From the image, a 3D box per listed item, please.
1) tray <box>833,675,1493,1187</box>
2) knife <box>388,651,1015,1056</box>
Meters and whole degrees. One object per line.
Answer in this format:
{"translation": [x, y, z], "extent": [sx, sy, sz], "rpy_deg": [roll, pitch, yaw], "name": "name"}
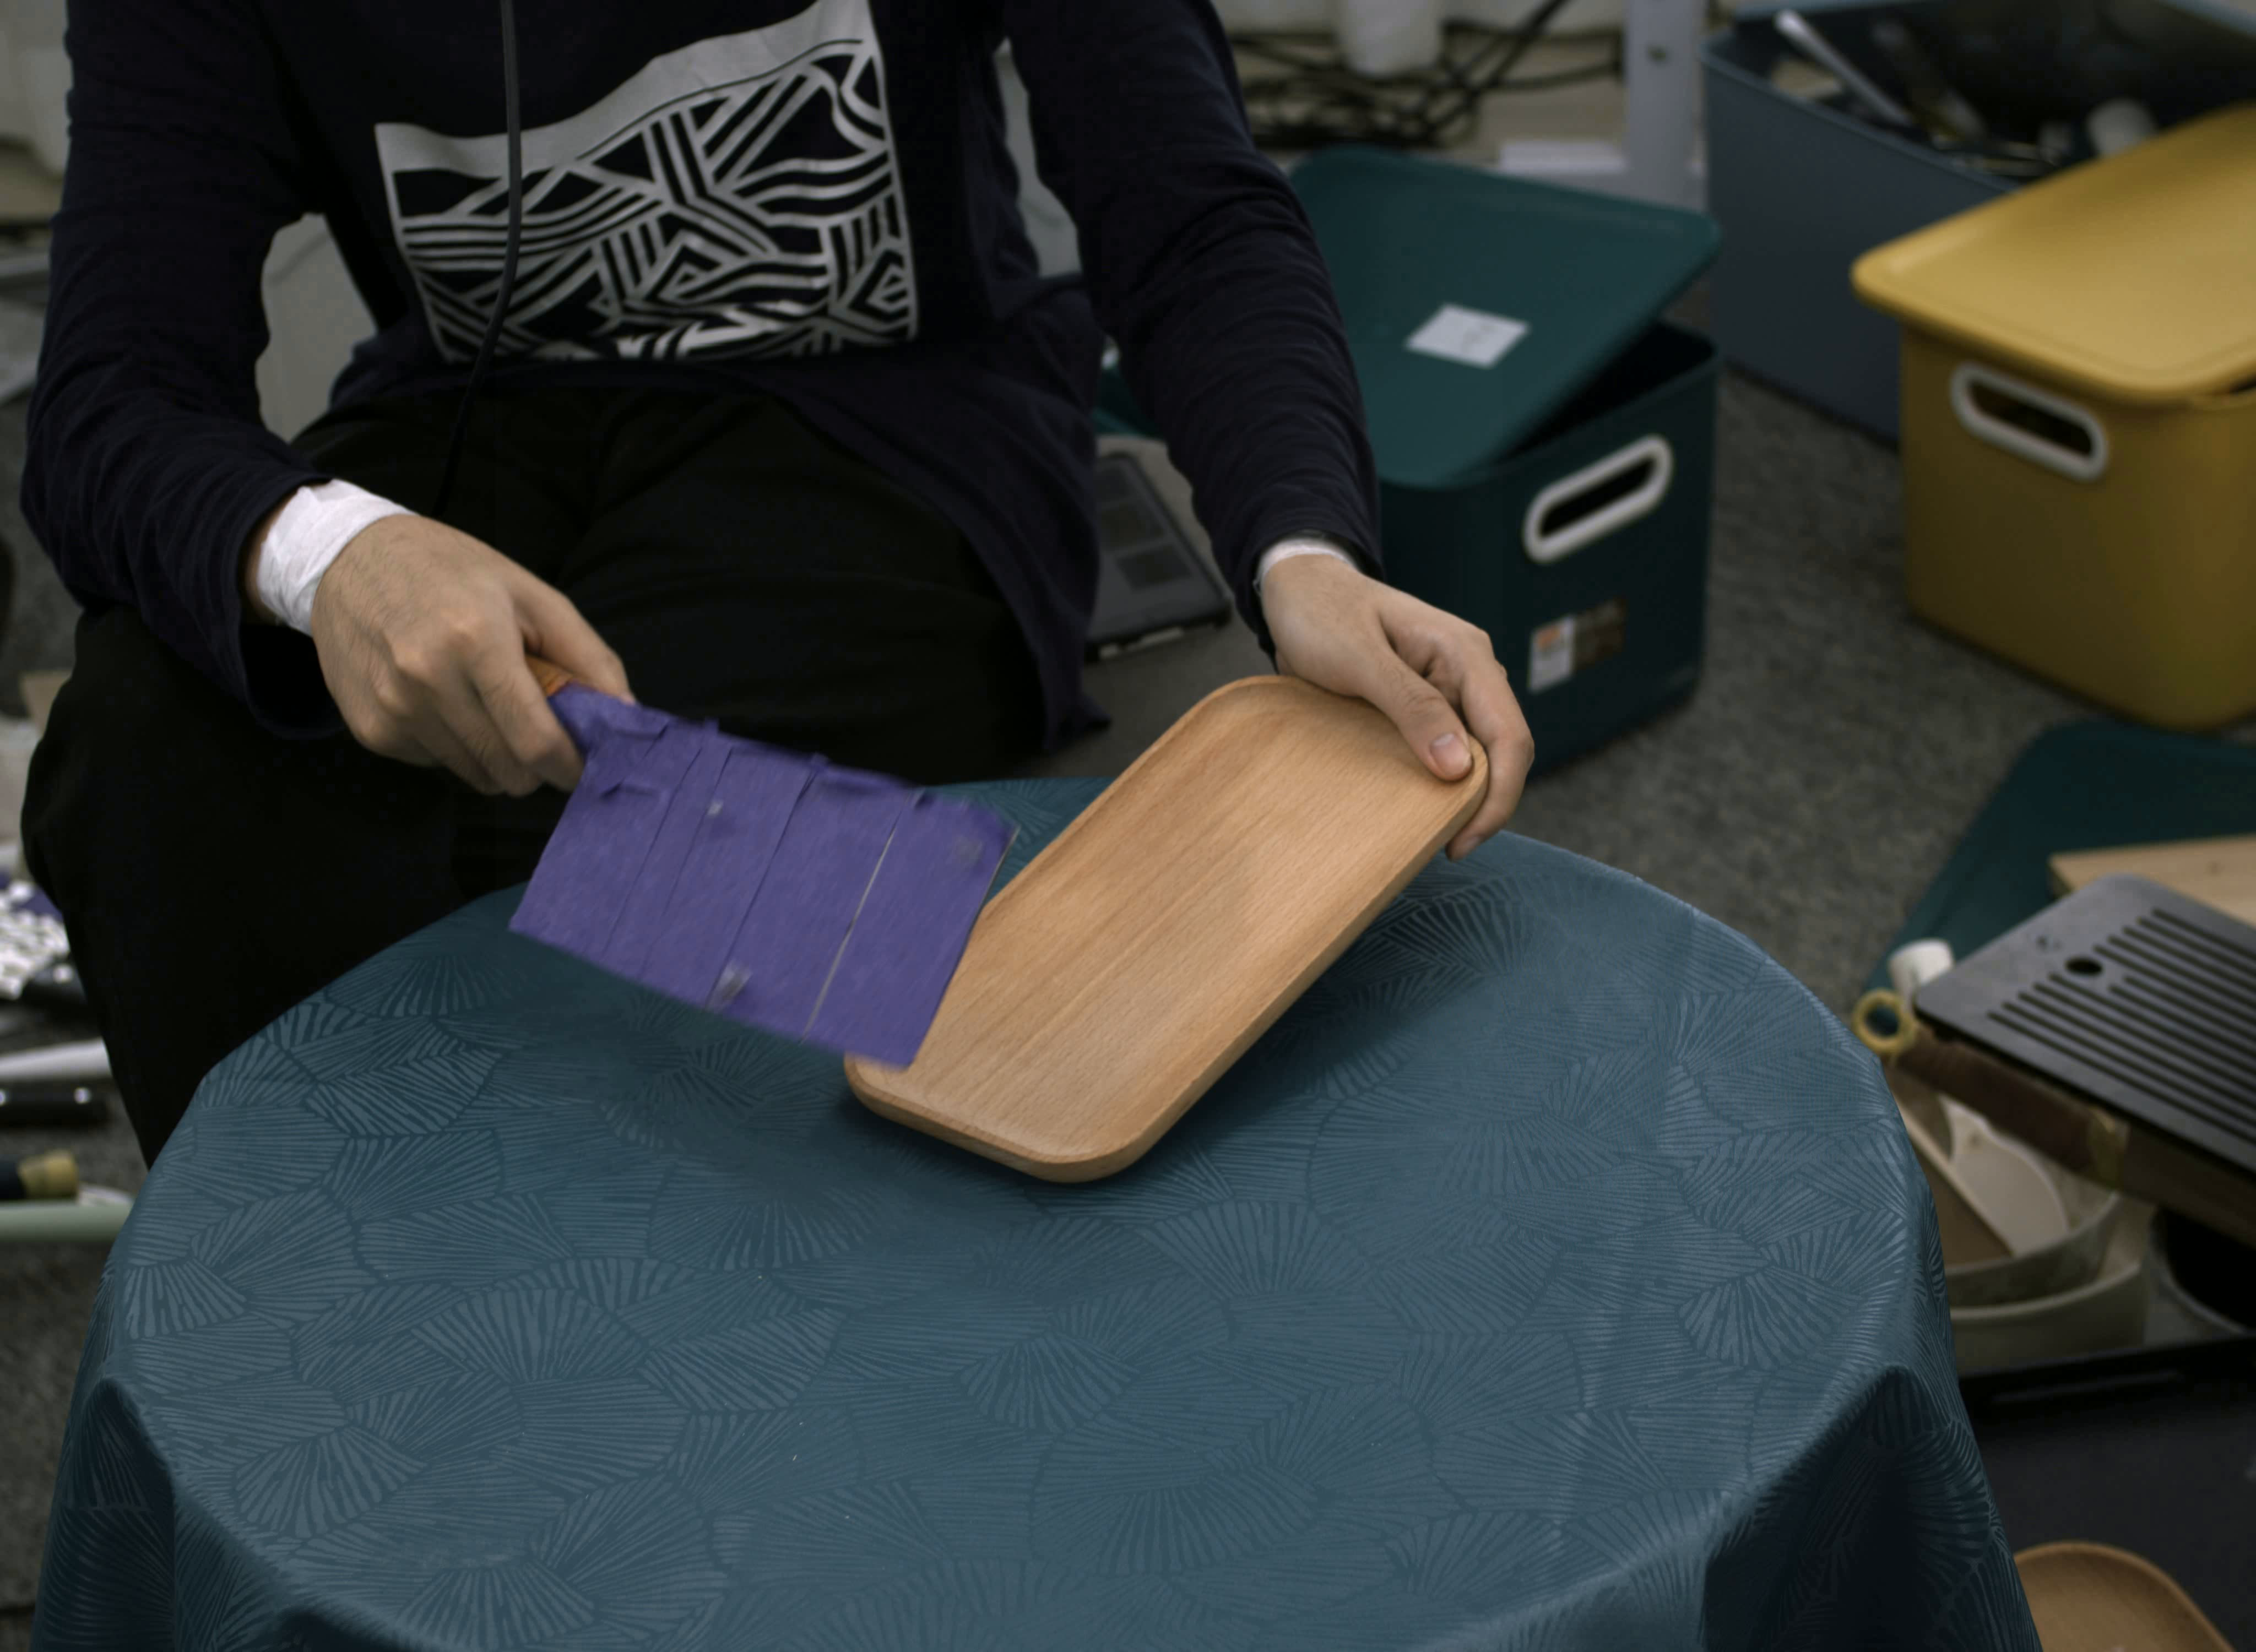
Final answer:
{"translation": [0.015, 0.034, 1.955], "extent": [0.130, 0.022, 0.254], "rpy_deg": [18, 48, 38], "name": "tray"}
{"translation": [-0.164, 0.008, 1.901], "extent": [0.314, 0.032, 0.105], "rpy_deg": [16, 74, 46], "name": "knife"}
